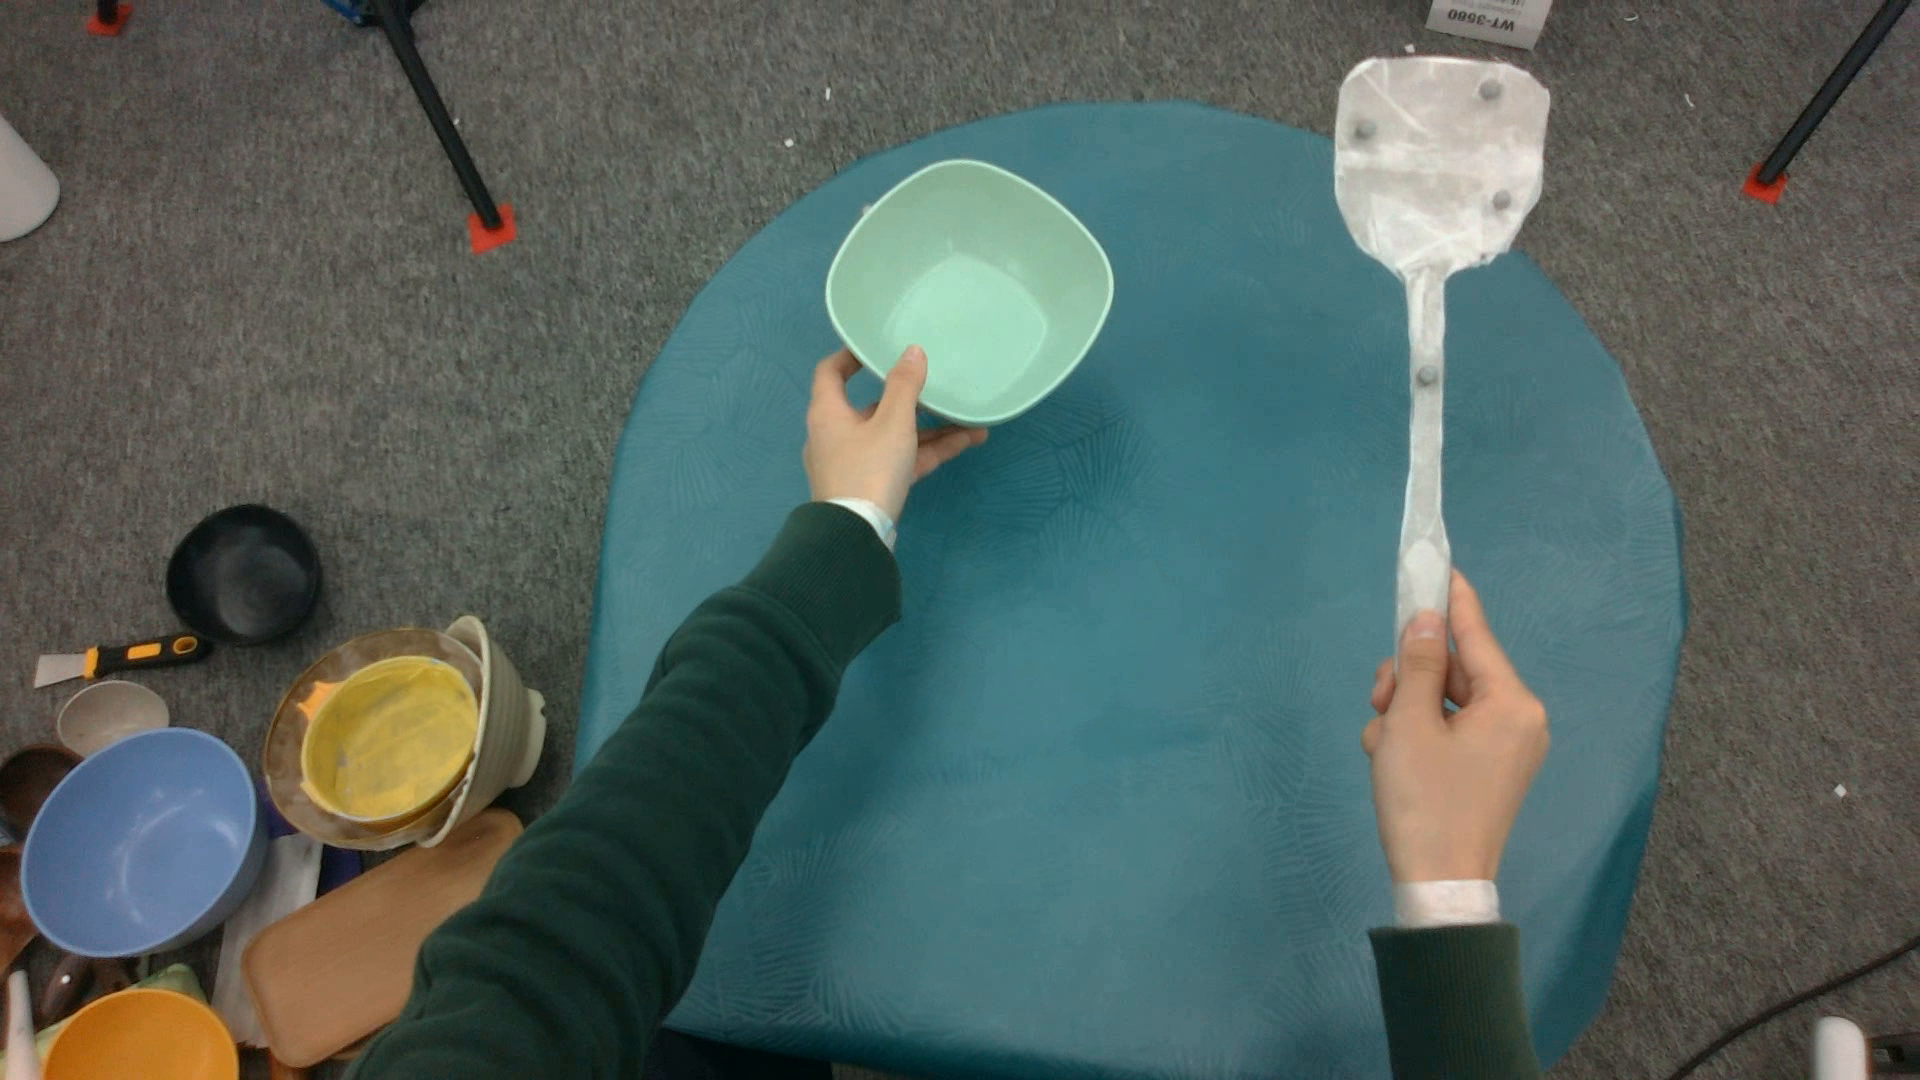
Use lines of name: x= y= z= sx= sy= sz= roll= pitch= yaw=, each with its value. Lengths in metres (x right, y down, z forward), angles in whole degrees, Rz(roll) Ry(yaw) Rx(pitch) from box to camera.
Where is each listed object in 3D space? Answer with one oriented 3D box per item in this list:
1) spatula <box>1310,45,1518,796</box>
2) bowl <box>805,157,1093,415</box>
spatula: x=0.200 y=-0.065 z=0.633 sx=0.098 sy=0.044 sz=0.366 roll=8 pitch=70 yaw=3
bowl: x=-0.006 y=-0.128 z=0.745 sx=0.151 sy=0.058 sz=0.152 roll=1 pitch=70 yaw=-2
